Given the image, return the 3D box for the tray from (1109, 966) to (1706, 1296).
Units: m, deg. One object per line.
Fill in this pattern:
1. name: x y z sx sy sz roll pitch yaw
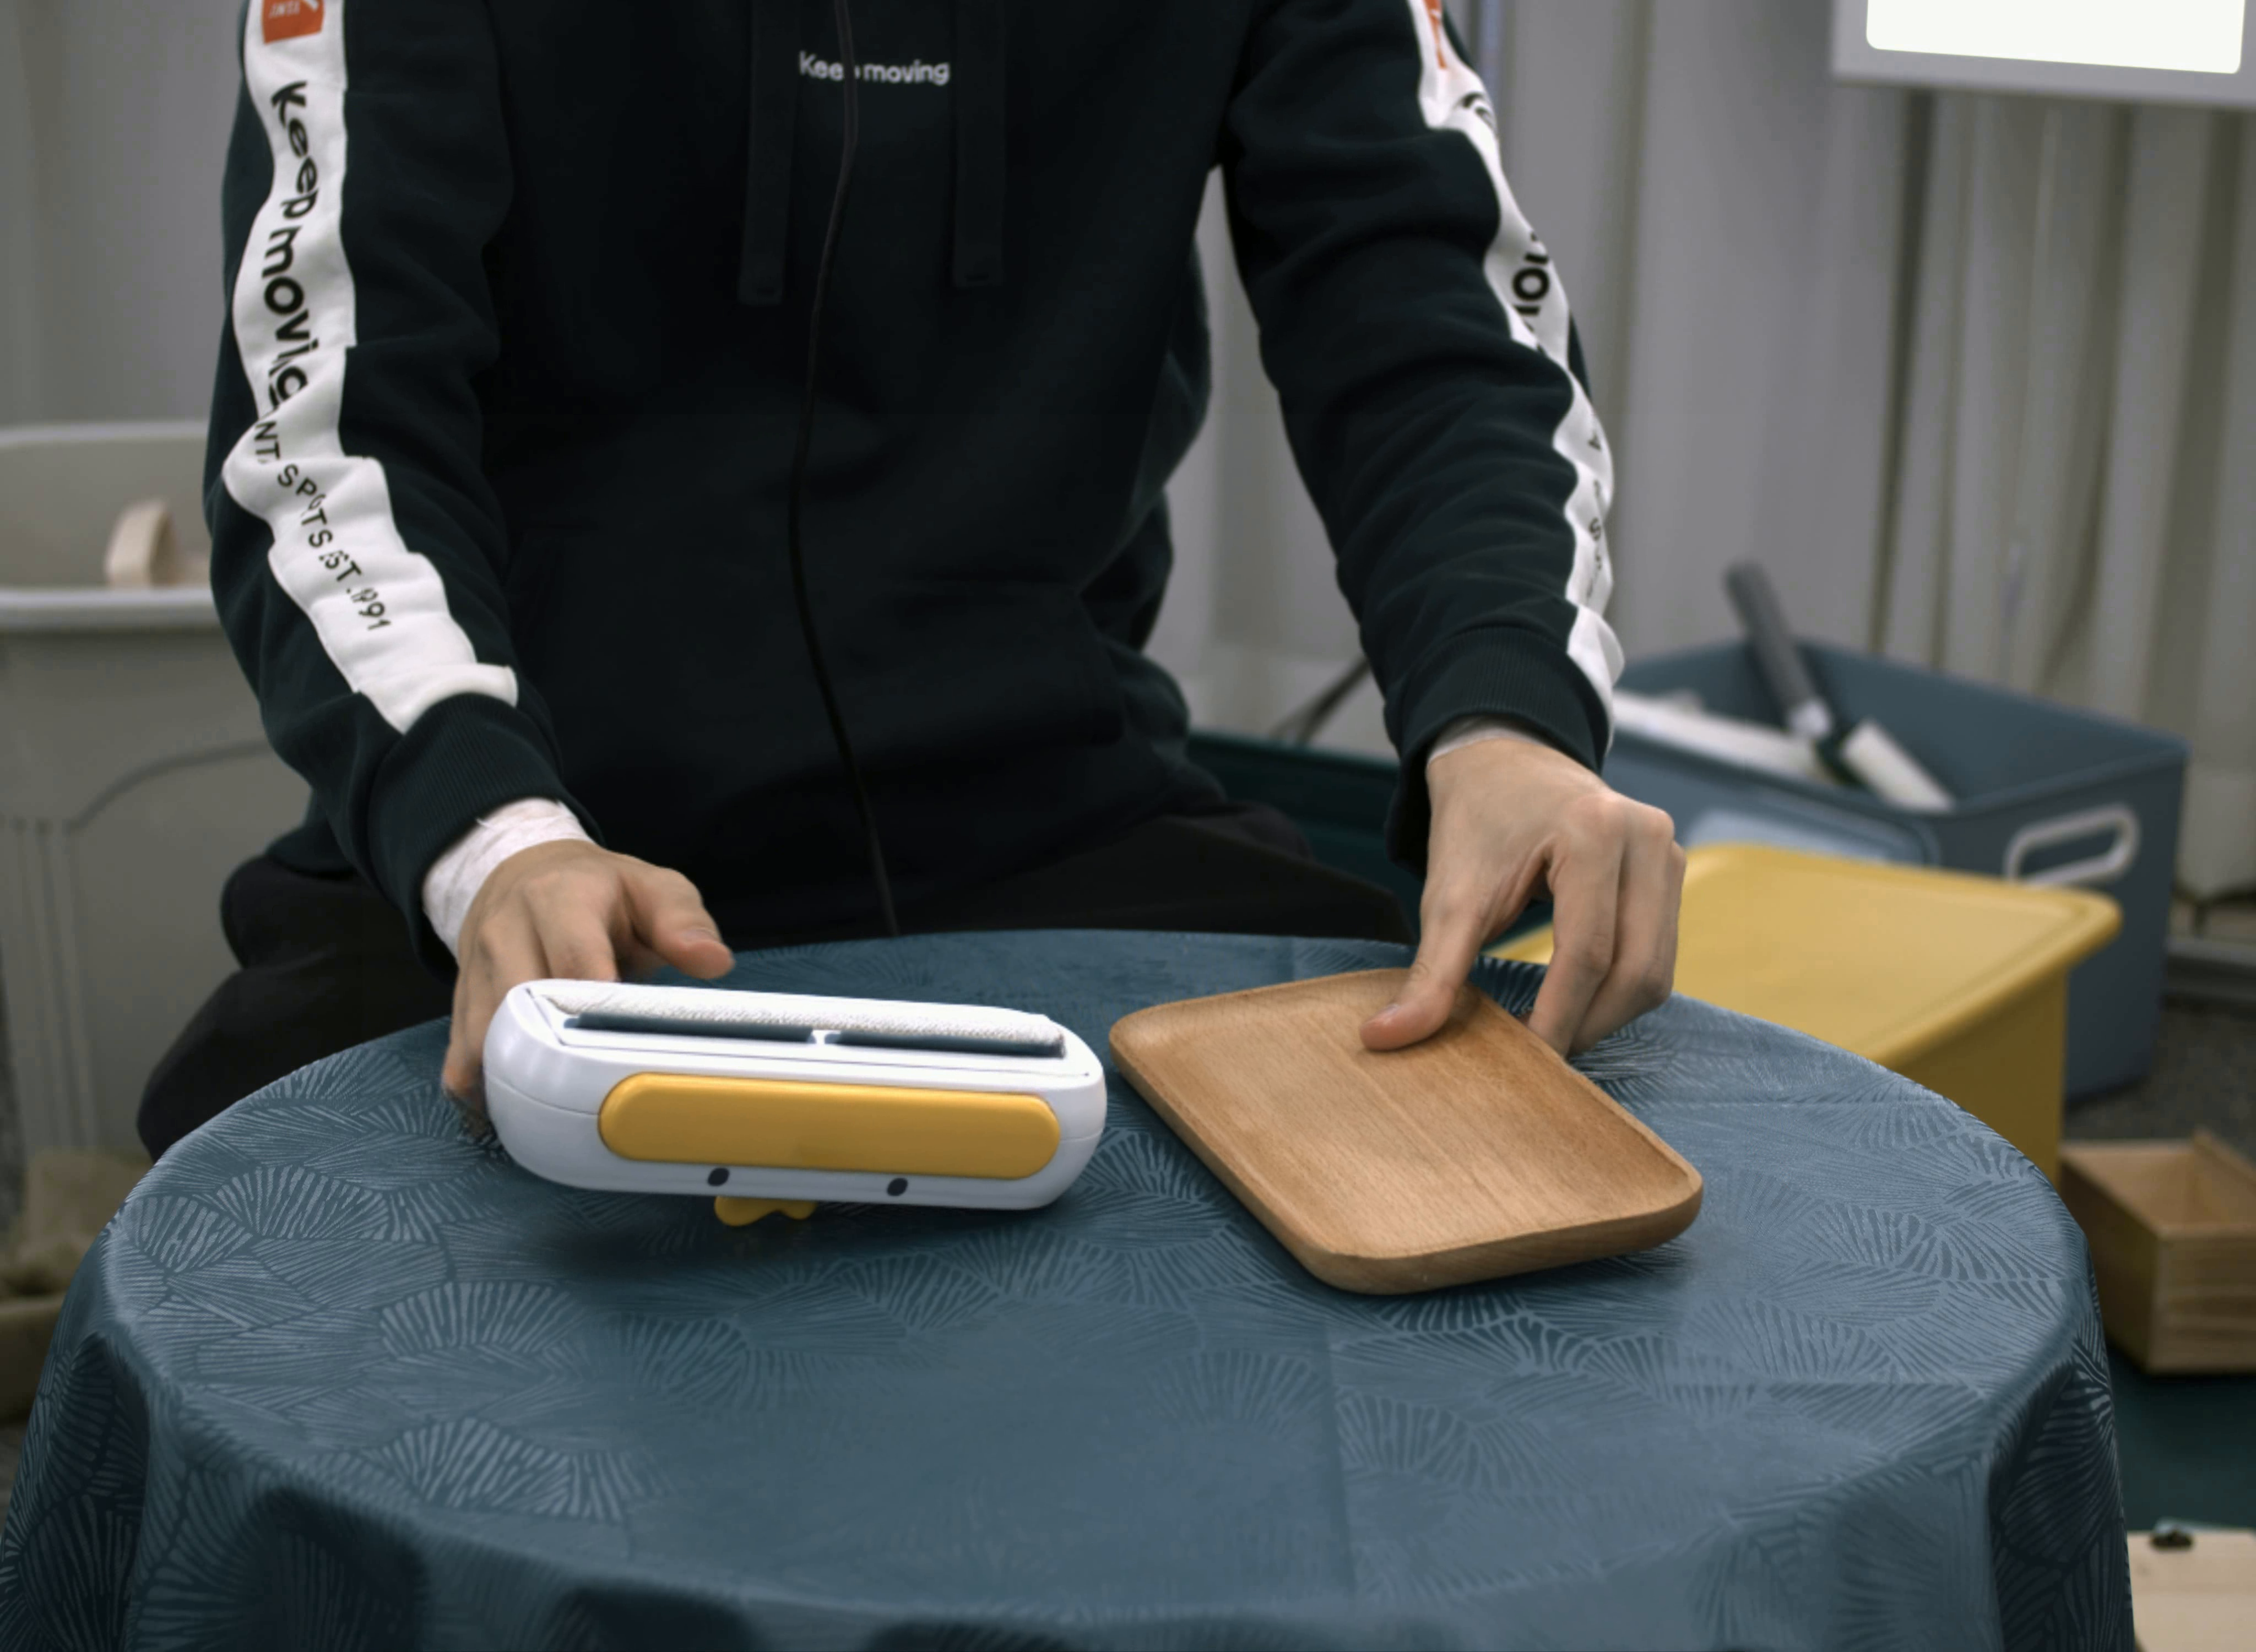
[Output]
1. tray: 0.083 0.093 1.648 0.131 0.023 0.248 -6 16 -15

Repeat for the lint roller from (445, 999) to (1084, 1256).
1. lint roller: -0.126 0.093 1.629 0.193 0.074 0.191 3 -1 -19
